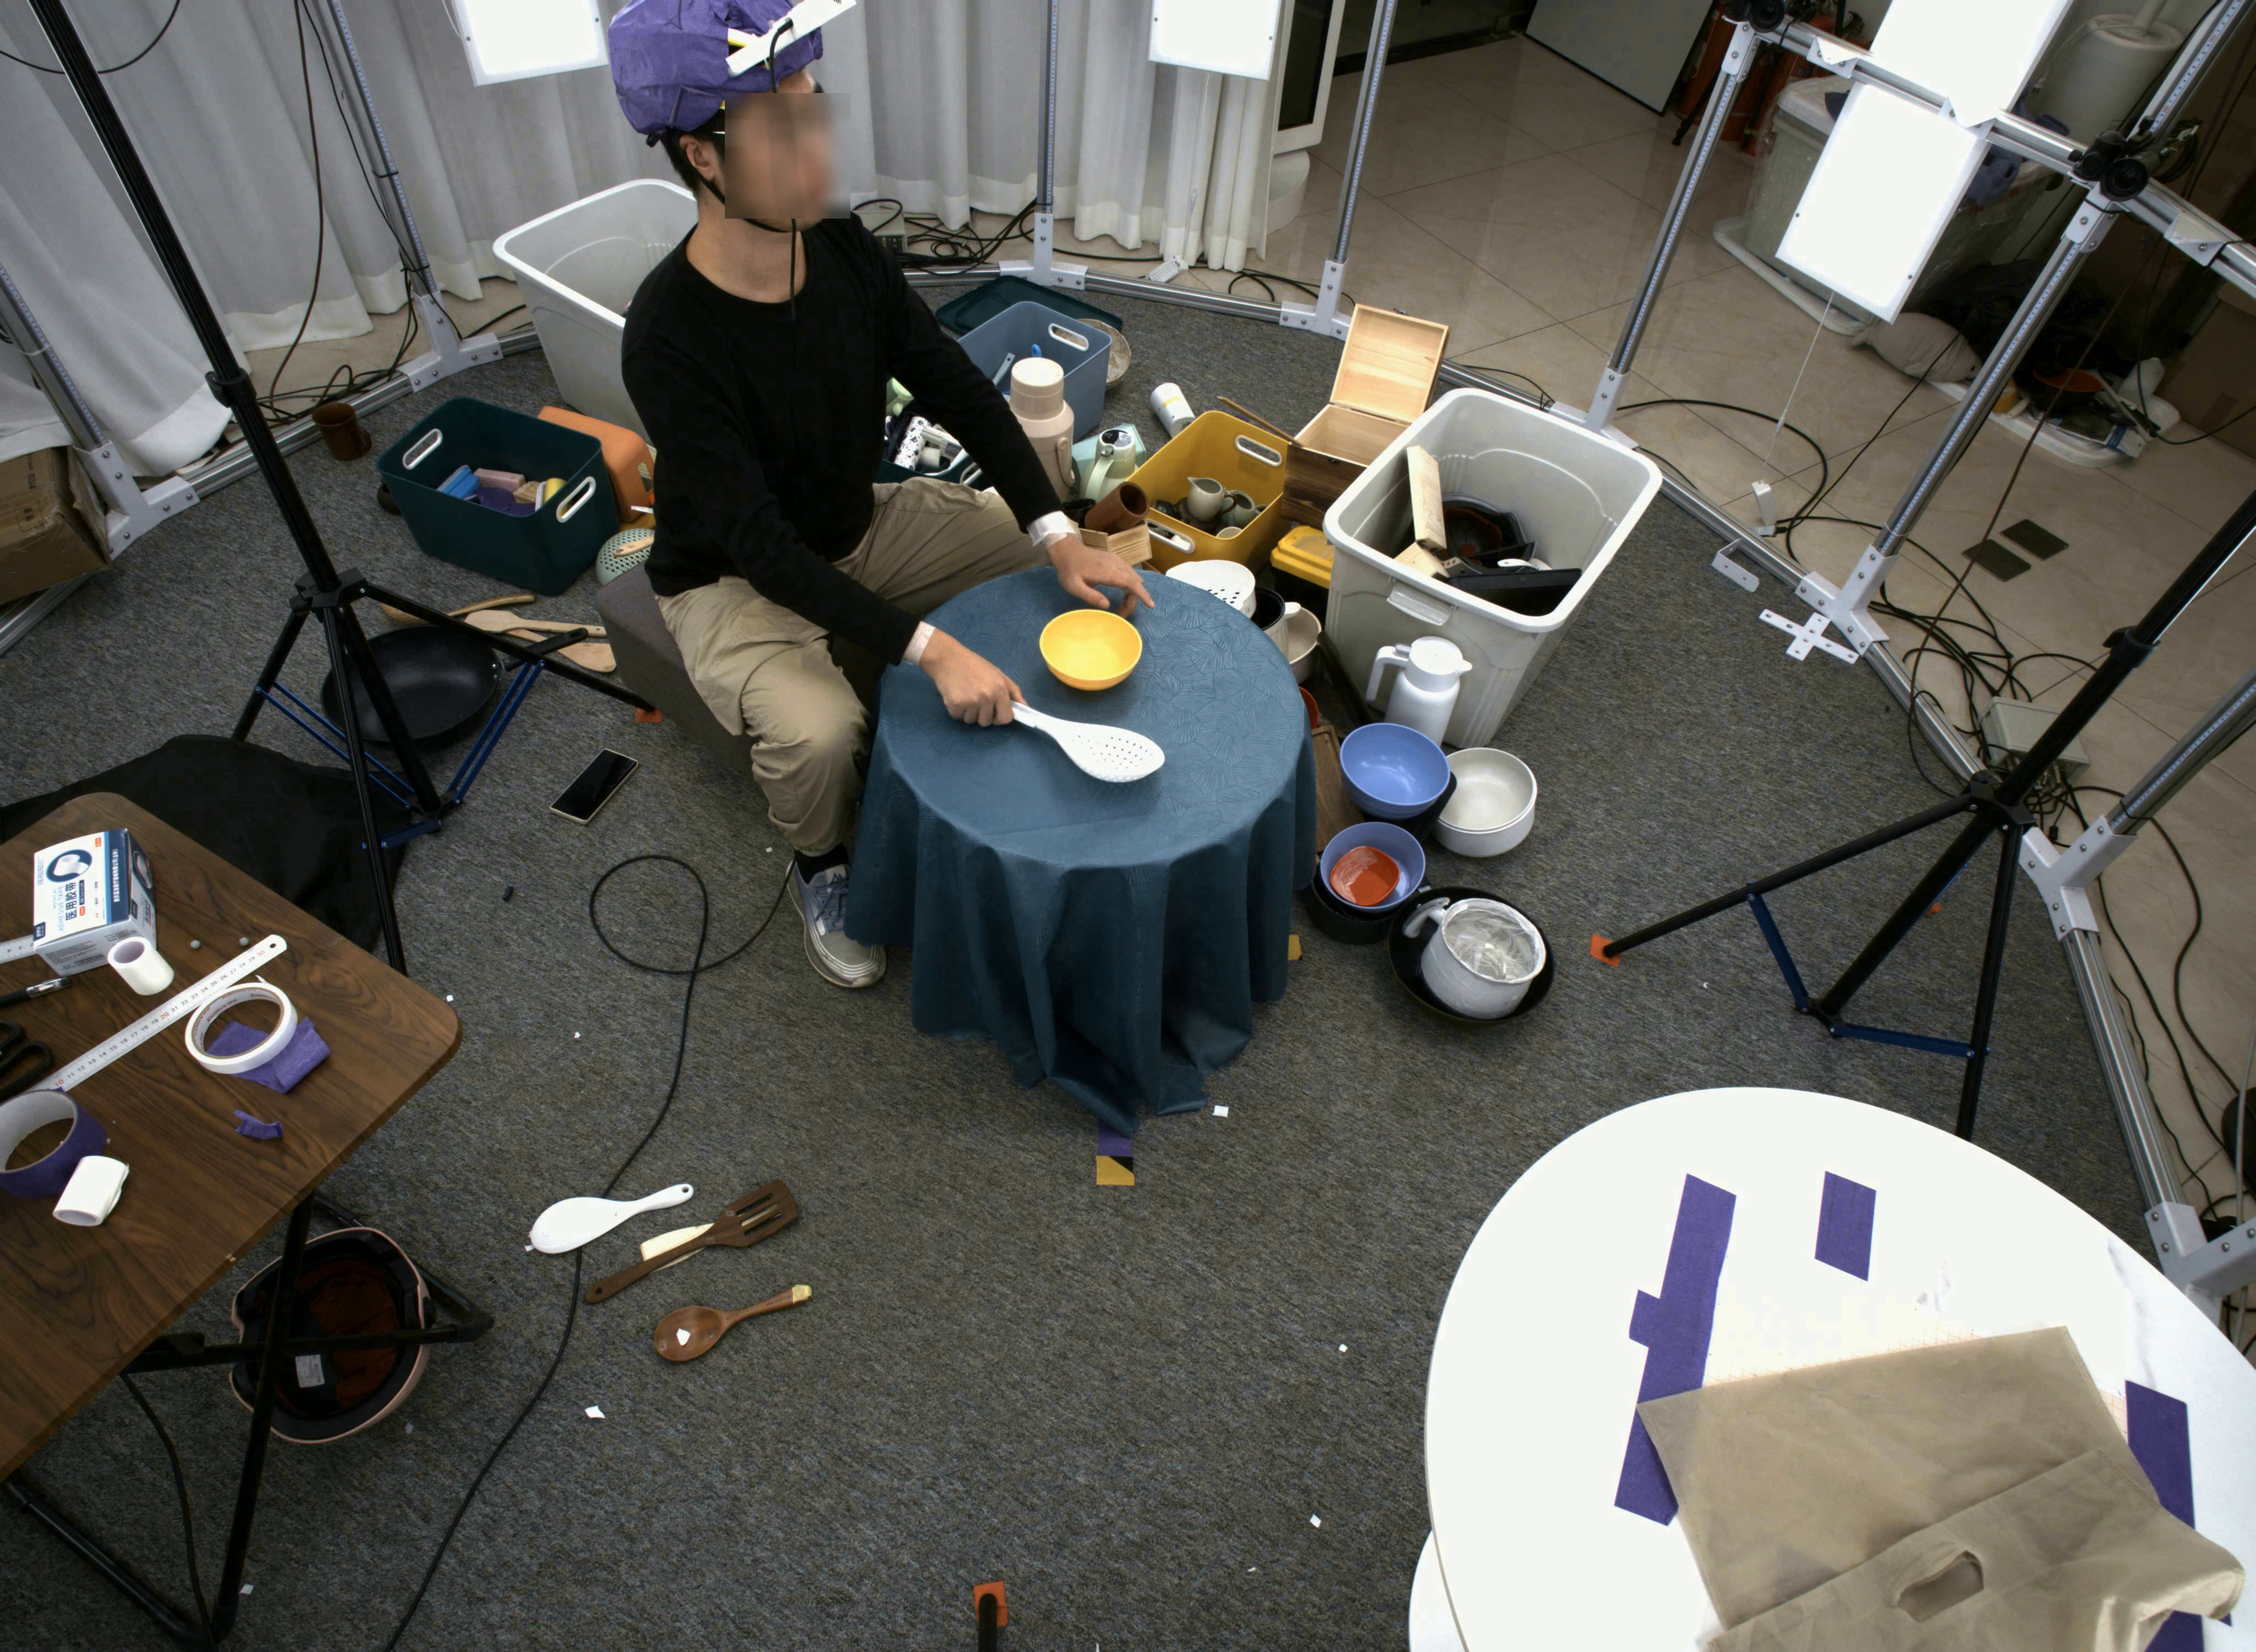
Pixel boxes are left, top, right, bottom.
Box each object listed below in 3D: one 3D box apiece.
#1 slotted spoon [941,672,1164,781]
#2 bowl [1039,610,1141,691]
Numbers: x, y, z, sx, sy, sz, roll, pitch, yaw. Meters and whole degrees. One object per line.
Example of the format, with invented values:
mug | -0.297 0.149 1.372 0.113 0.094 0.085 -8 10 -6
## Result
slotted spoon | -0.111 -0.140 1.746 0.353 0.045 0.137 29 30 20
bowl | -0.056 -0.240 1.838 0.145 0.059 0.149 3 50 -4
